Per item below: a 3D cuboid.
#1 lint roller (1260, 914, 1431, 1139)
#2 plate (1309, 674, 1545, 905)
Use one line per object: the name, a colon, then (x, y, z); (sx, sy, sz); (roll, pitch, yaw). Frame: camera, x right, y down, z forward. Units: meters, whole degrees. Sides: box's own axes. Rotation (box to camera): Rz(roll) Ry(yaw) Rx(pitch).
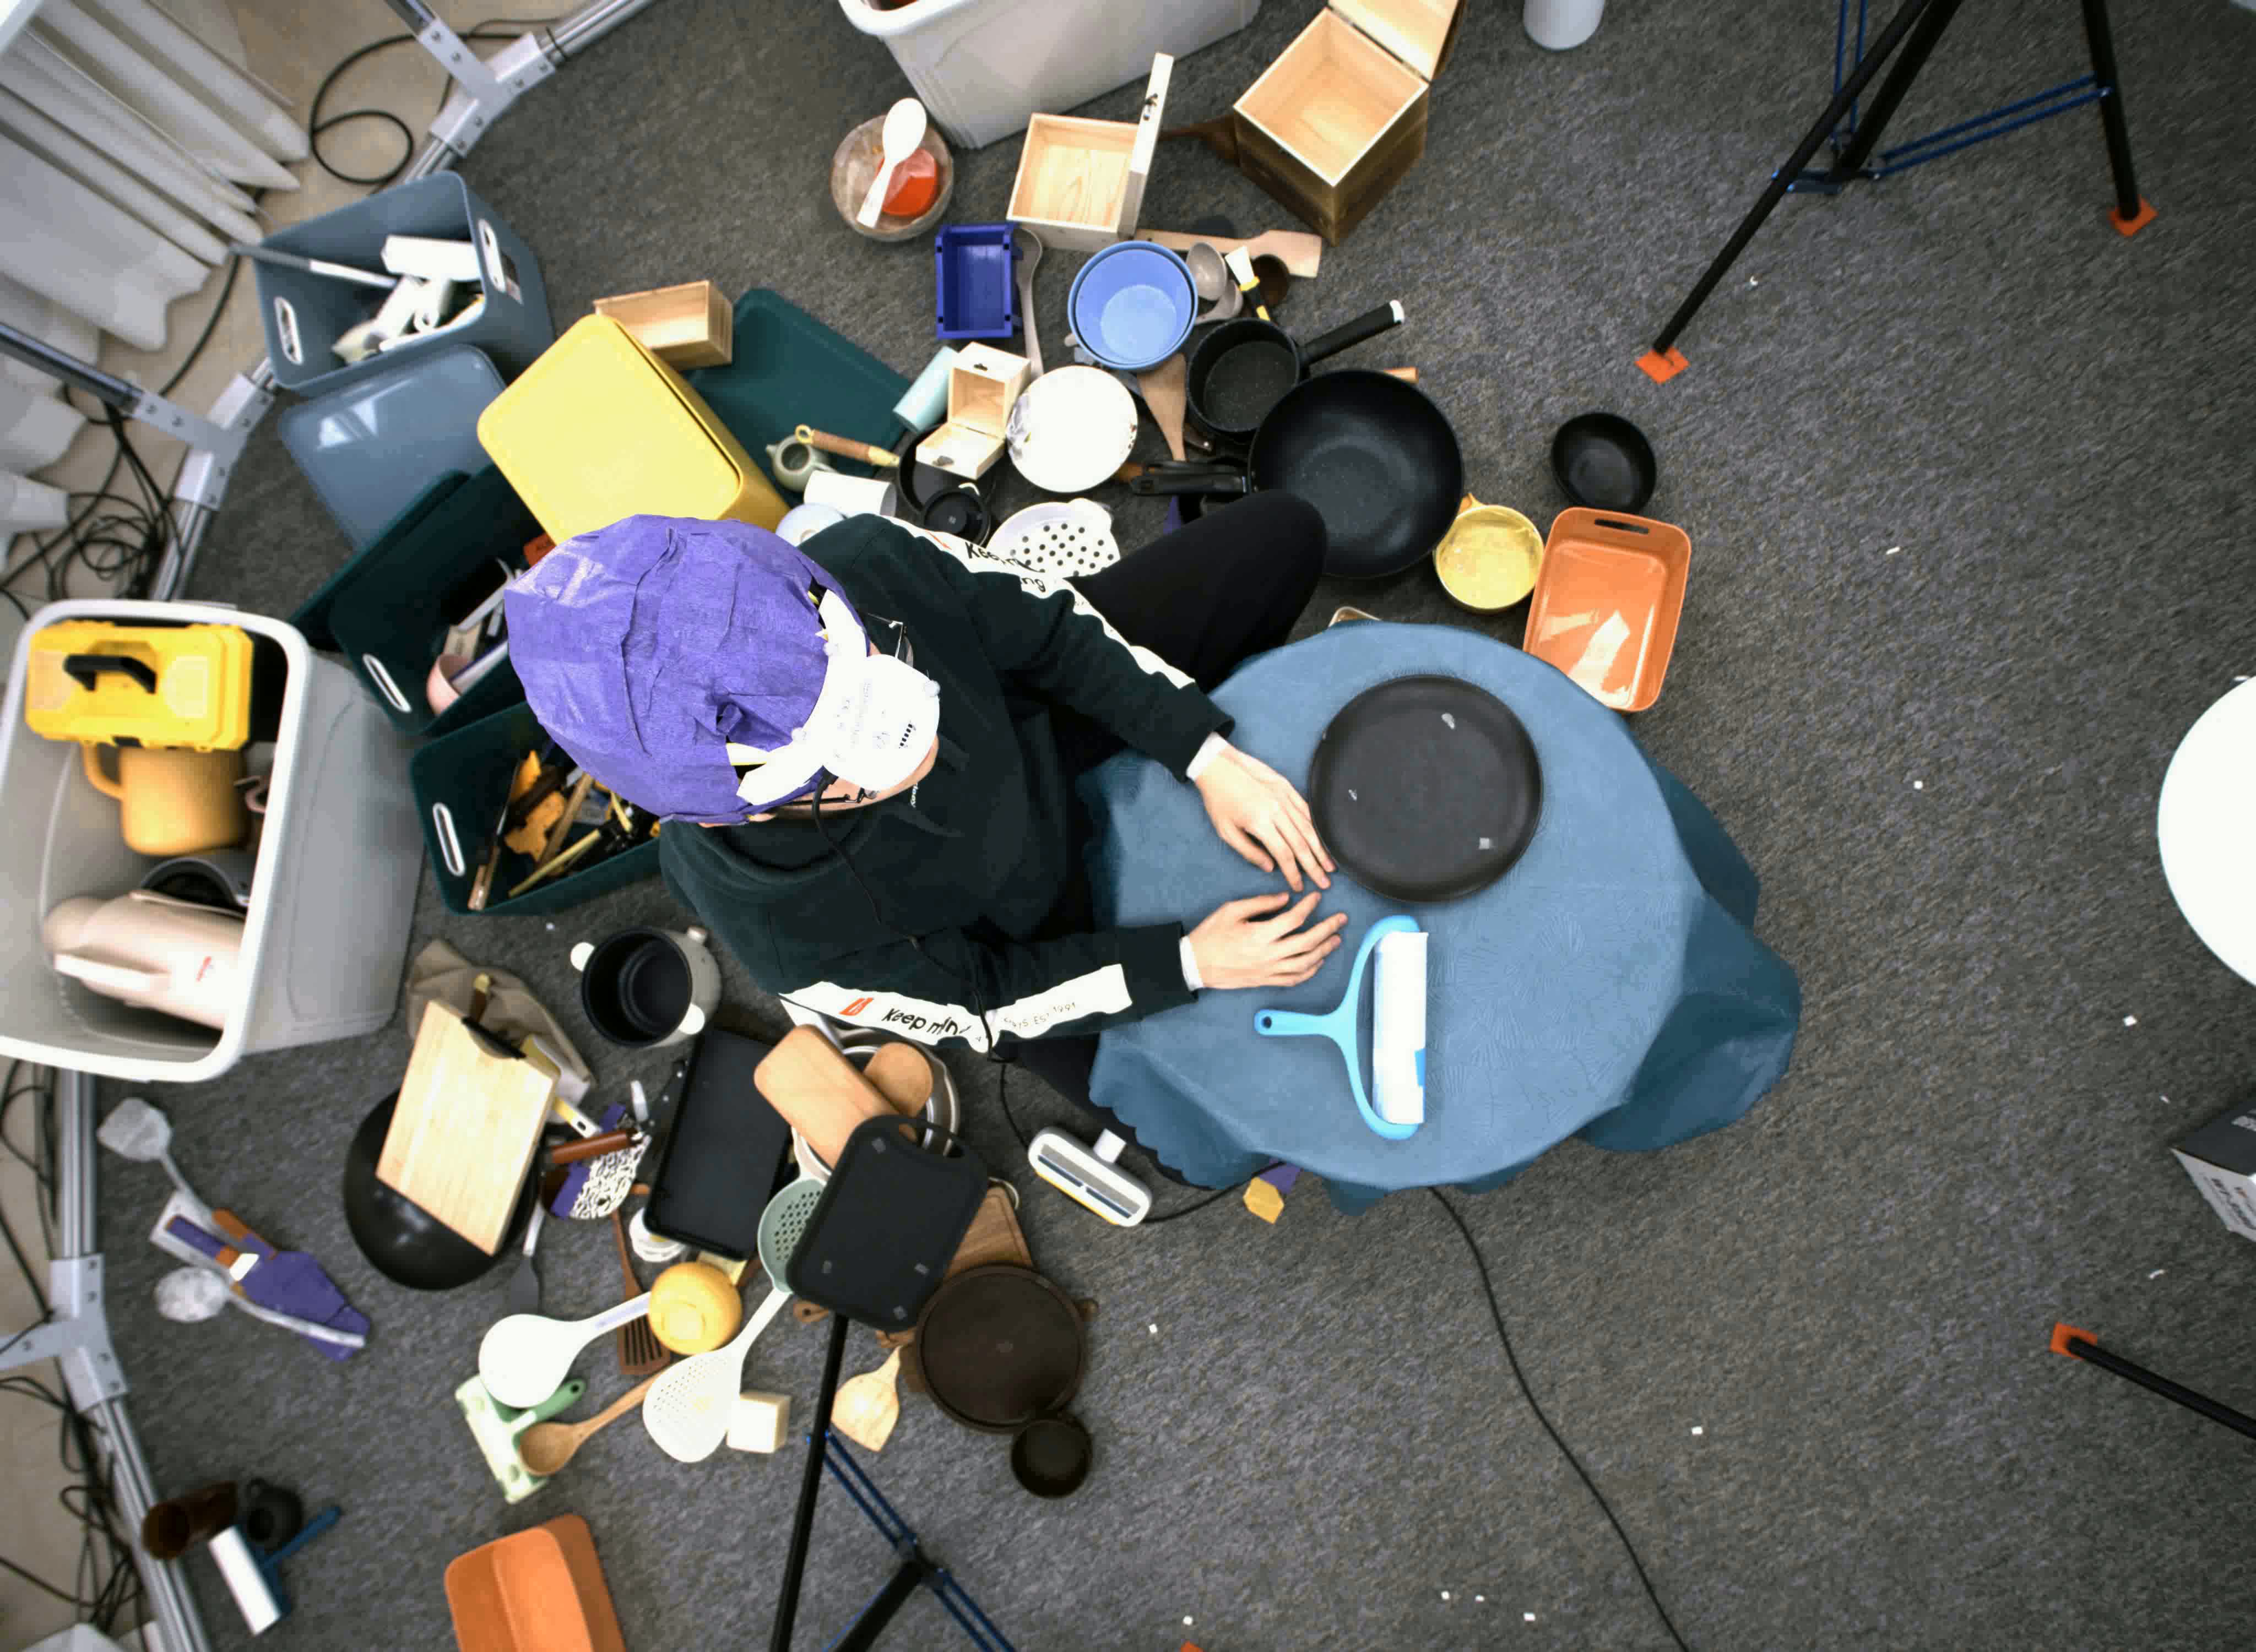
lint roller: (0.223, 0.206, 1.429); (0.181, 0.068, 0.228); (-3, 87, 11)
plate: (0.312, -0.040, 1.442); (0.245, 0.023, 0.243); (-1, 87, 10)
